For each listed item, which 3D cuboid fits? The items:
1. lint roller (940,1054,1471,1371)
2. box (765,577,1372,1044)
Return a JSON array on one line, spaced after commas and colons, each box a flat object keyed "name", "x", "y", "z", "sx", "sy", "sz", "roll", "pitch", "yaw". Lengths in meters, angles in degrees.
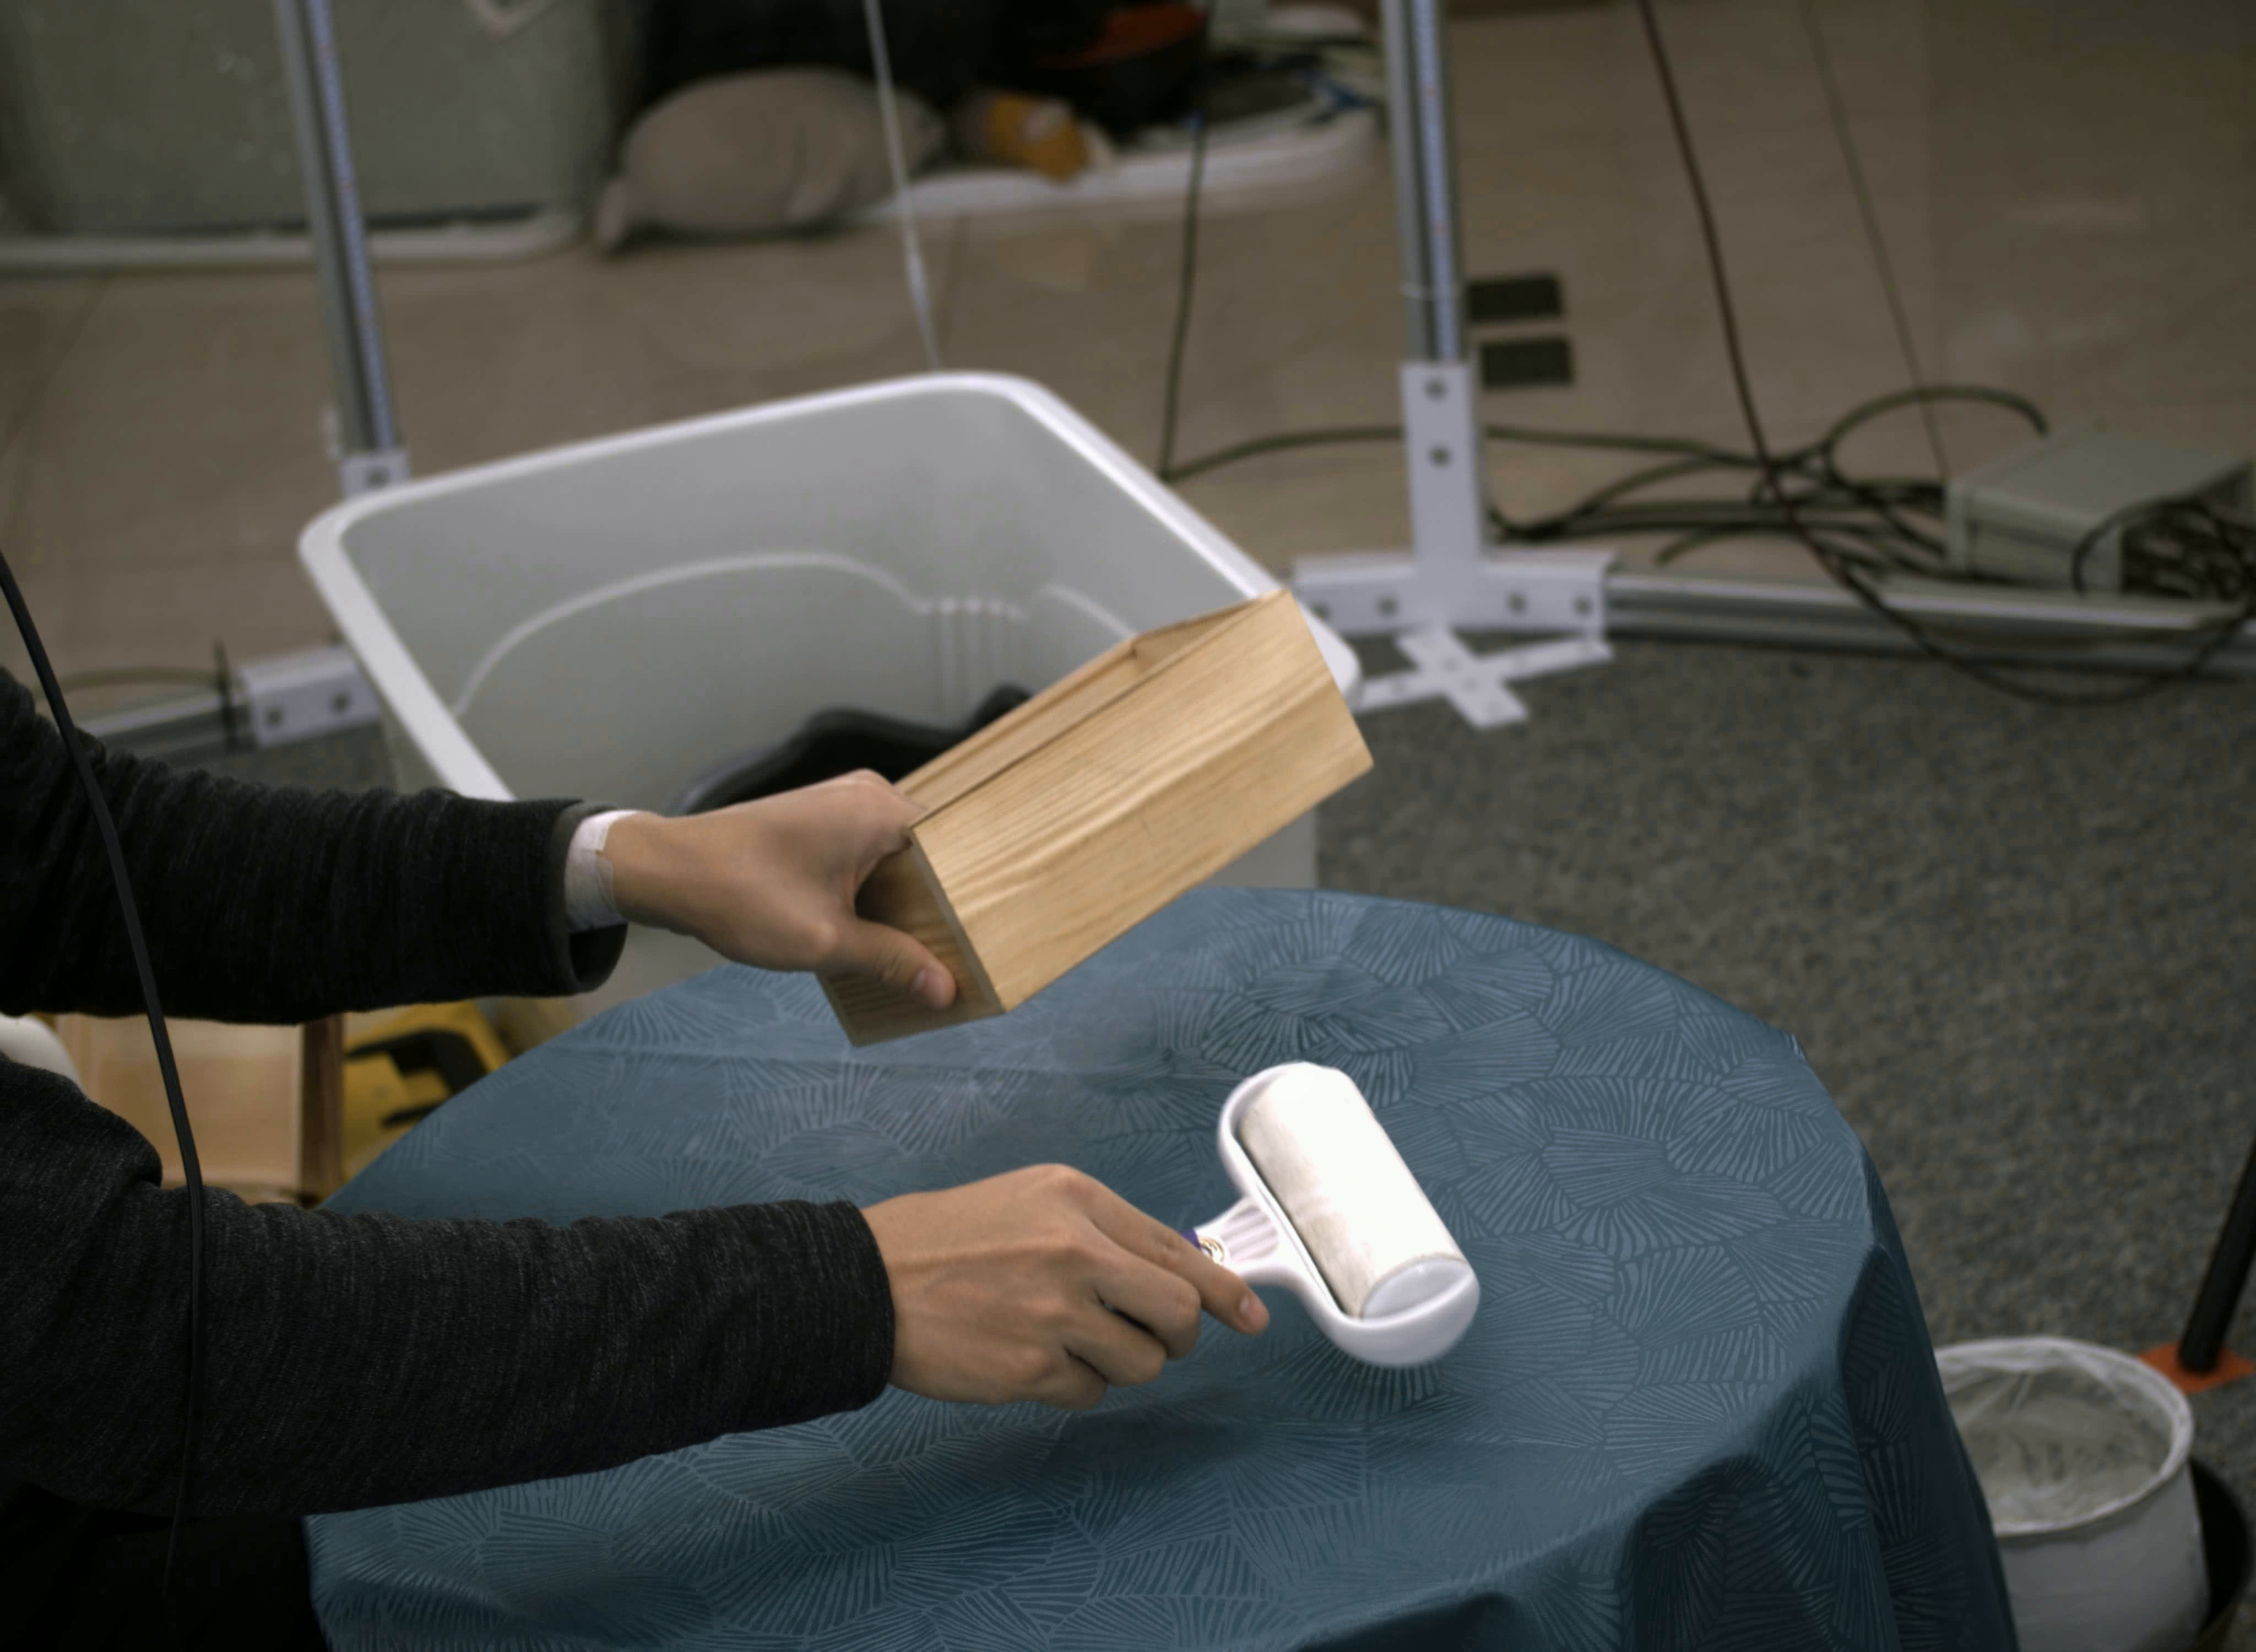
[{"name": "lint roller", "x": 0.018, "y": 0.145, "z": 1.978, "sx": 0.180, "sy": 0.051, "sz": 0.131, "roll": -12, "pitch": 45, "yaw": -19}, {"name": "box", "x": -0.021, "y": -0.007, "z": 2.189, "sx": 0.209, "sy": 0.081, "sz": 0.108, "roll": -35, "pitch": 12, "yaw": -35}]
